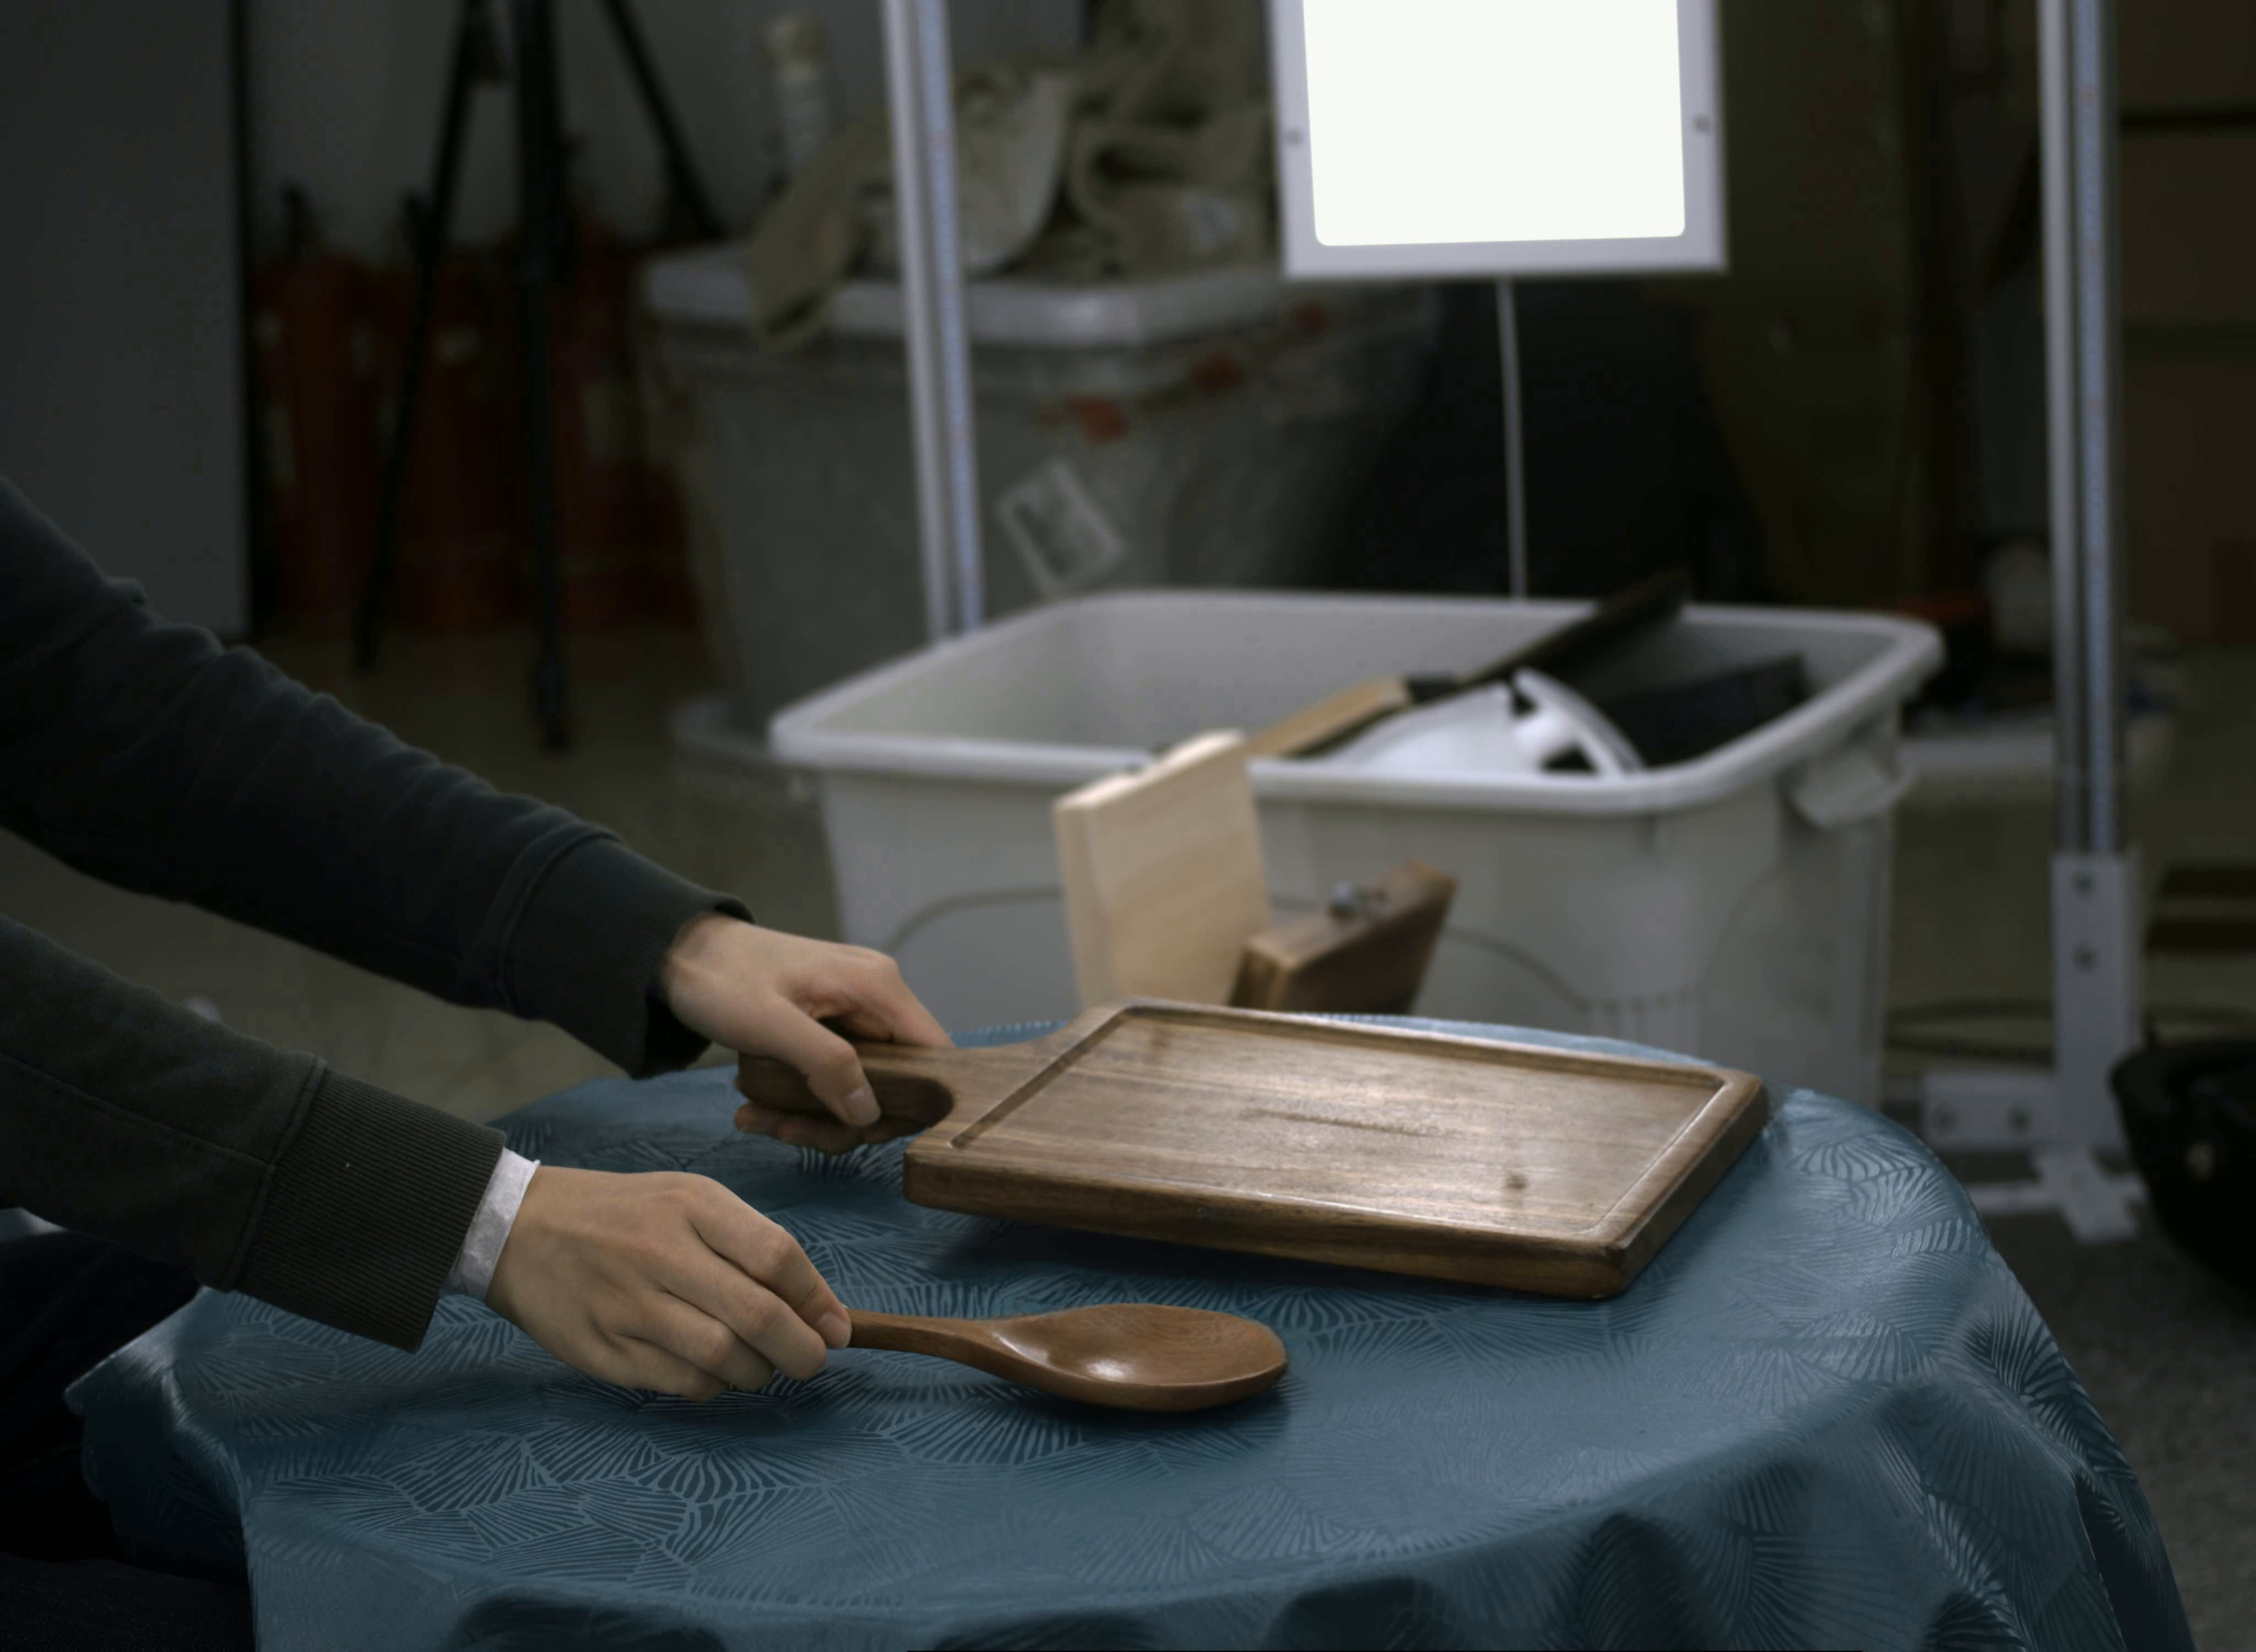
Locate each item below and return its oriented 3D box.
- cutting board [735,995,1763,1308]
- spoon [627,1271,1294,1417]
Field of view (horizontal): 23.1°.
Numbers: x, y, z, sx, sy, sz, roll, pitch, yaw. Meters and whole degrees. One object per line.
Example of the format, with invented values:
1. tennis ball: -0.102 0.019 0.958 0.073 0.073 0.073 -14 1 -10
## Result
1. cutting board: 0.028 0.102 1.888 0.357 0.023 0.197 6 18 22
2. spoon: -0.053 0.159 1.715 0.218 0.017 0.074 6 18 17
